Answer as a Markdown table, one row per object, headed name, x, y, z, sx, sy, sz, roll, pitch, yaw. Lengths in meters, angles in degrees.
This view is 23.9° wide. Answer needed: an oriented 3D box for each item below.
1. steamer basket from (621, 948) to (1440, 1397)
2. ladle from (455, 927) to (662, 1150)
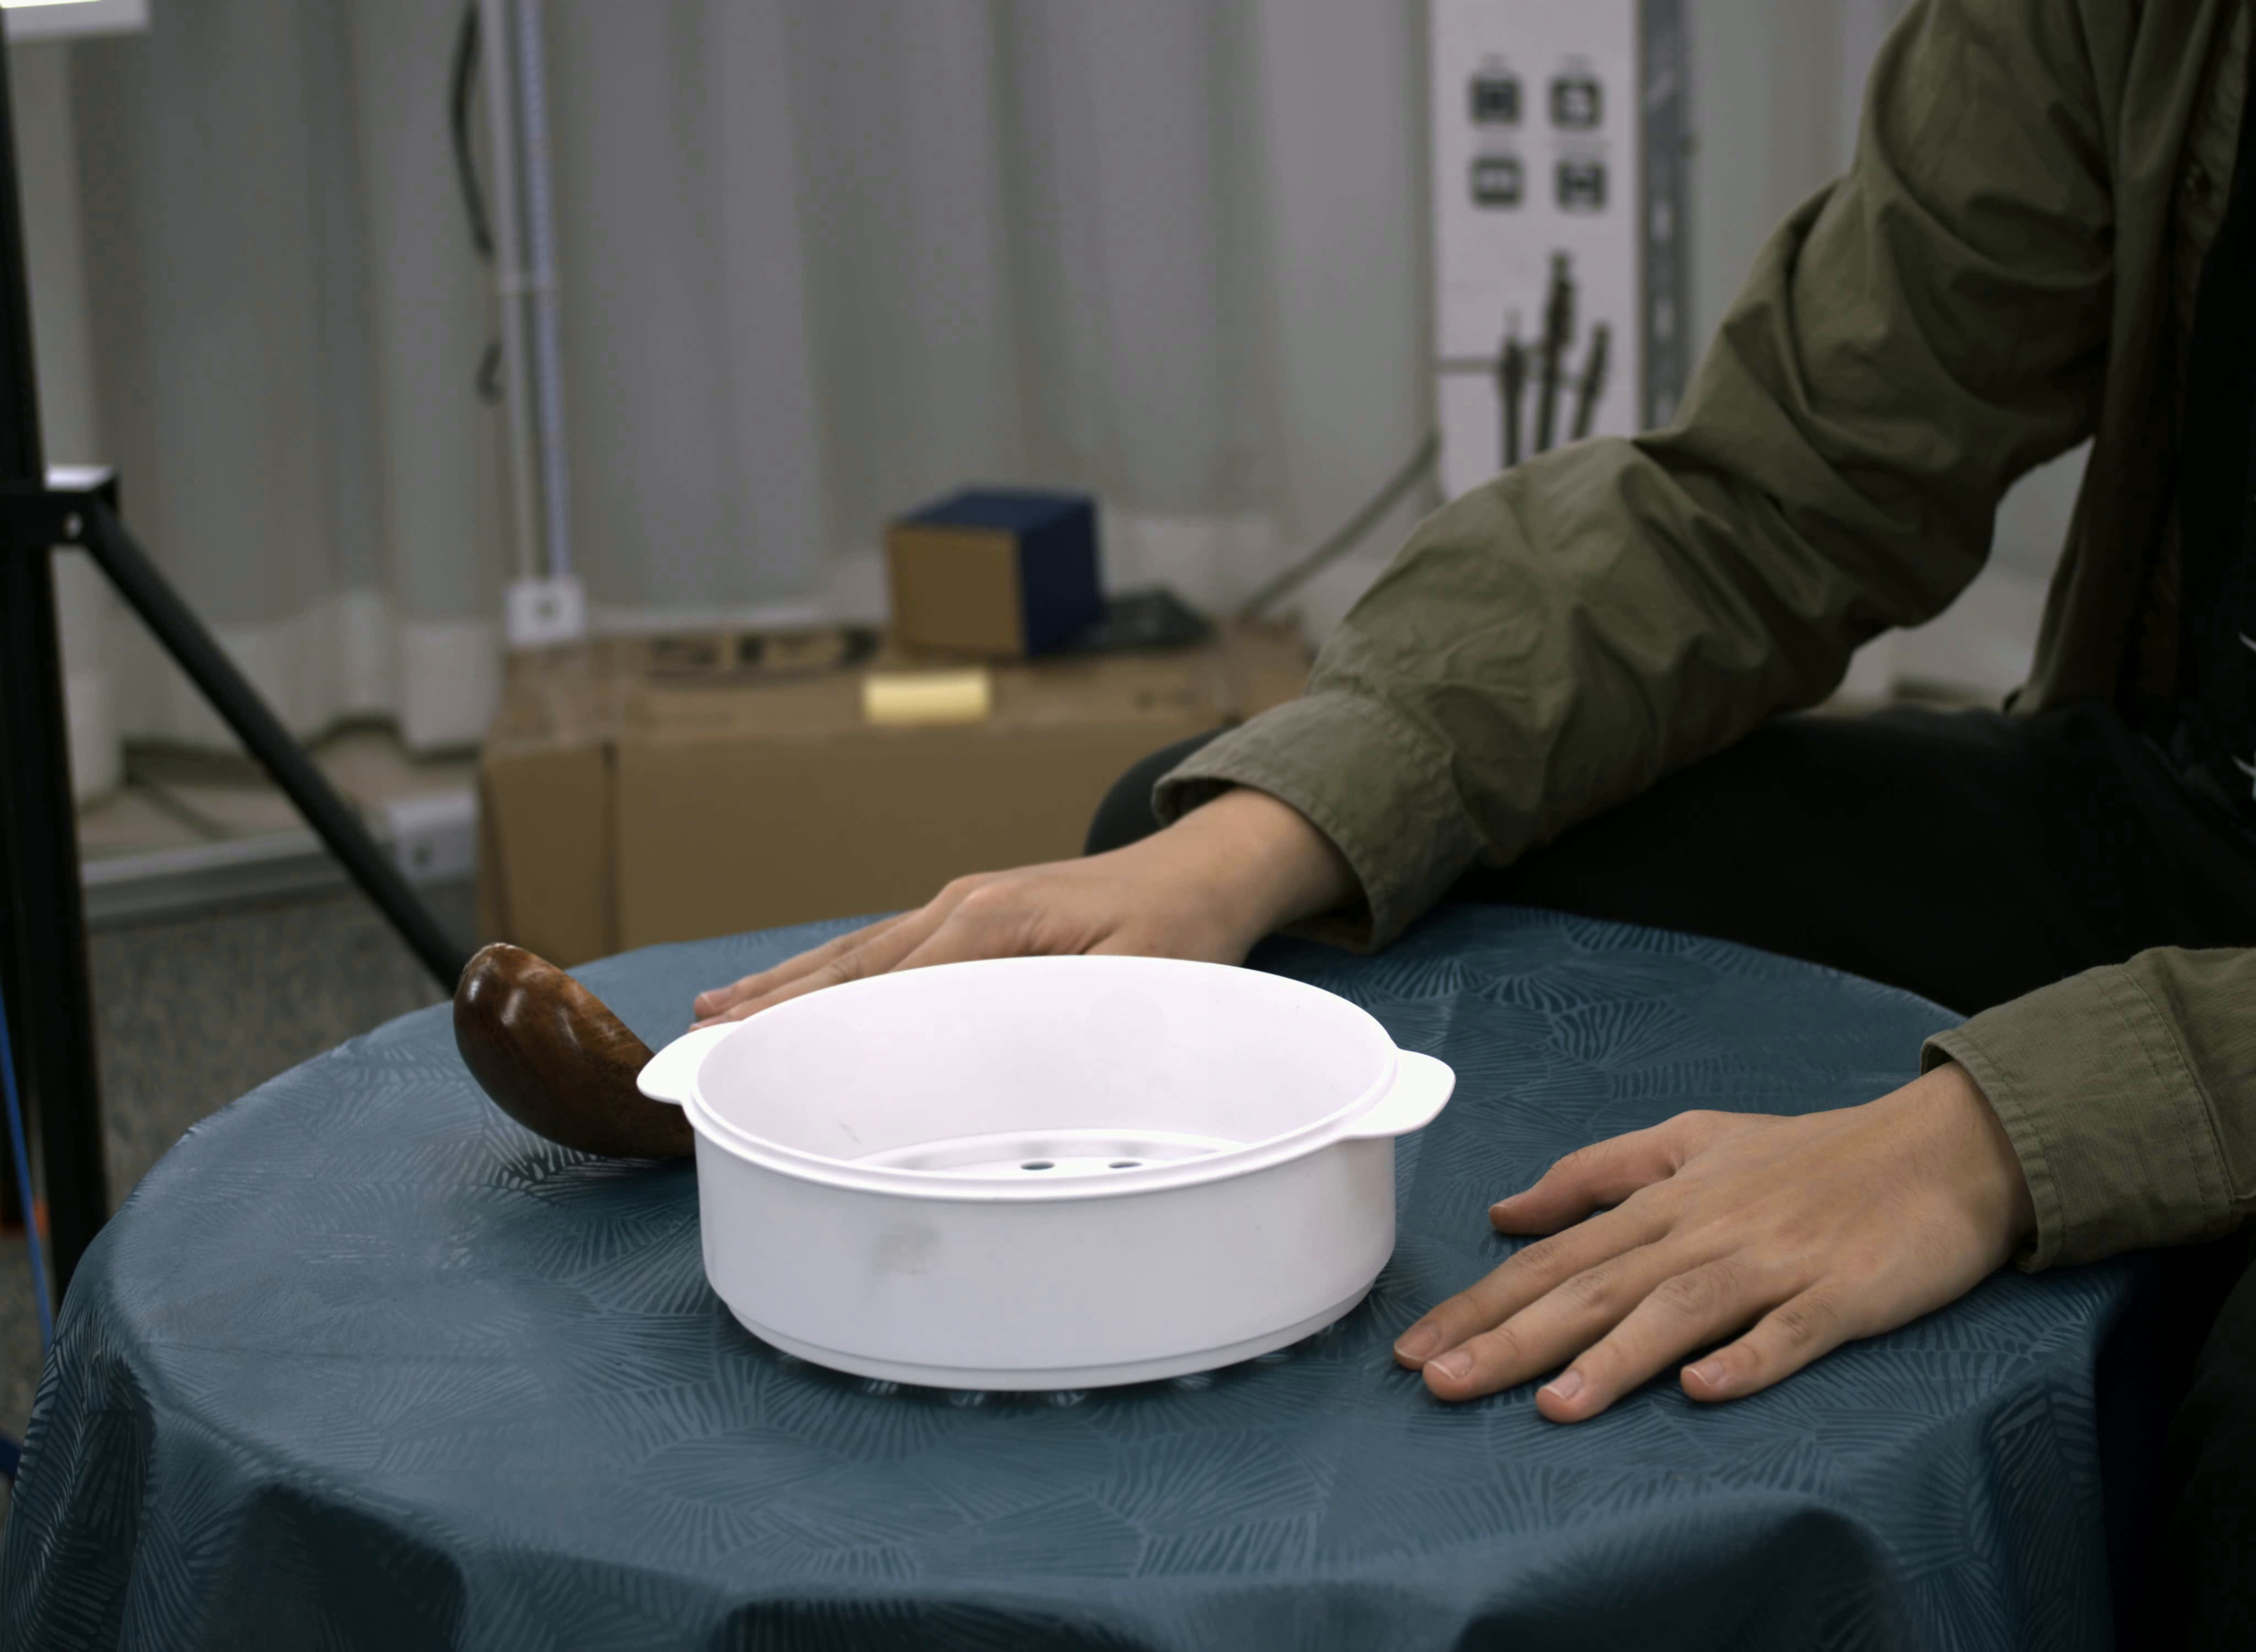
| name | x | y | z | sx | sy | sz | roll | pitch | yaw |
| --- | --- | --- | --- | --- | --- | --- | --- | --- | --- |
| steamer basket | -0.027 | 0.097 | 1.485 | 0.232 | 0.069 | 0.200 | 3 | 17 | 16 |
| ladle | -0.076 | 0.049 | 1.644 | 0.268 | 0.077 | 0.083 | -10 | 3 | -25 |
